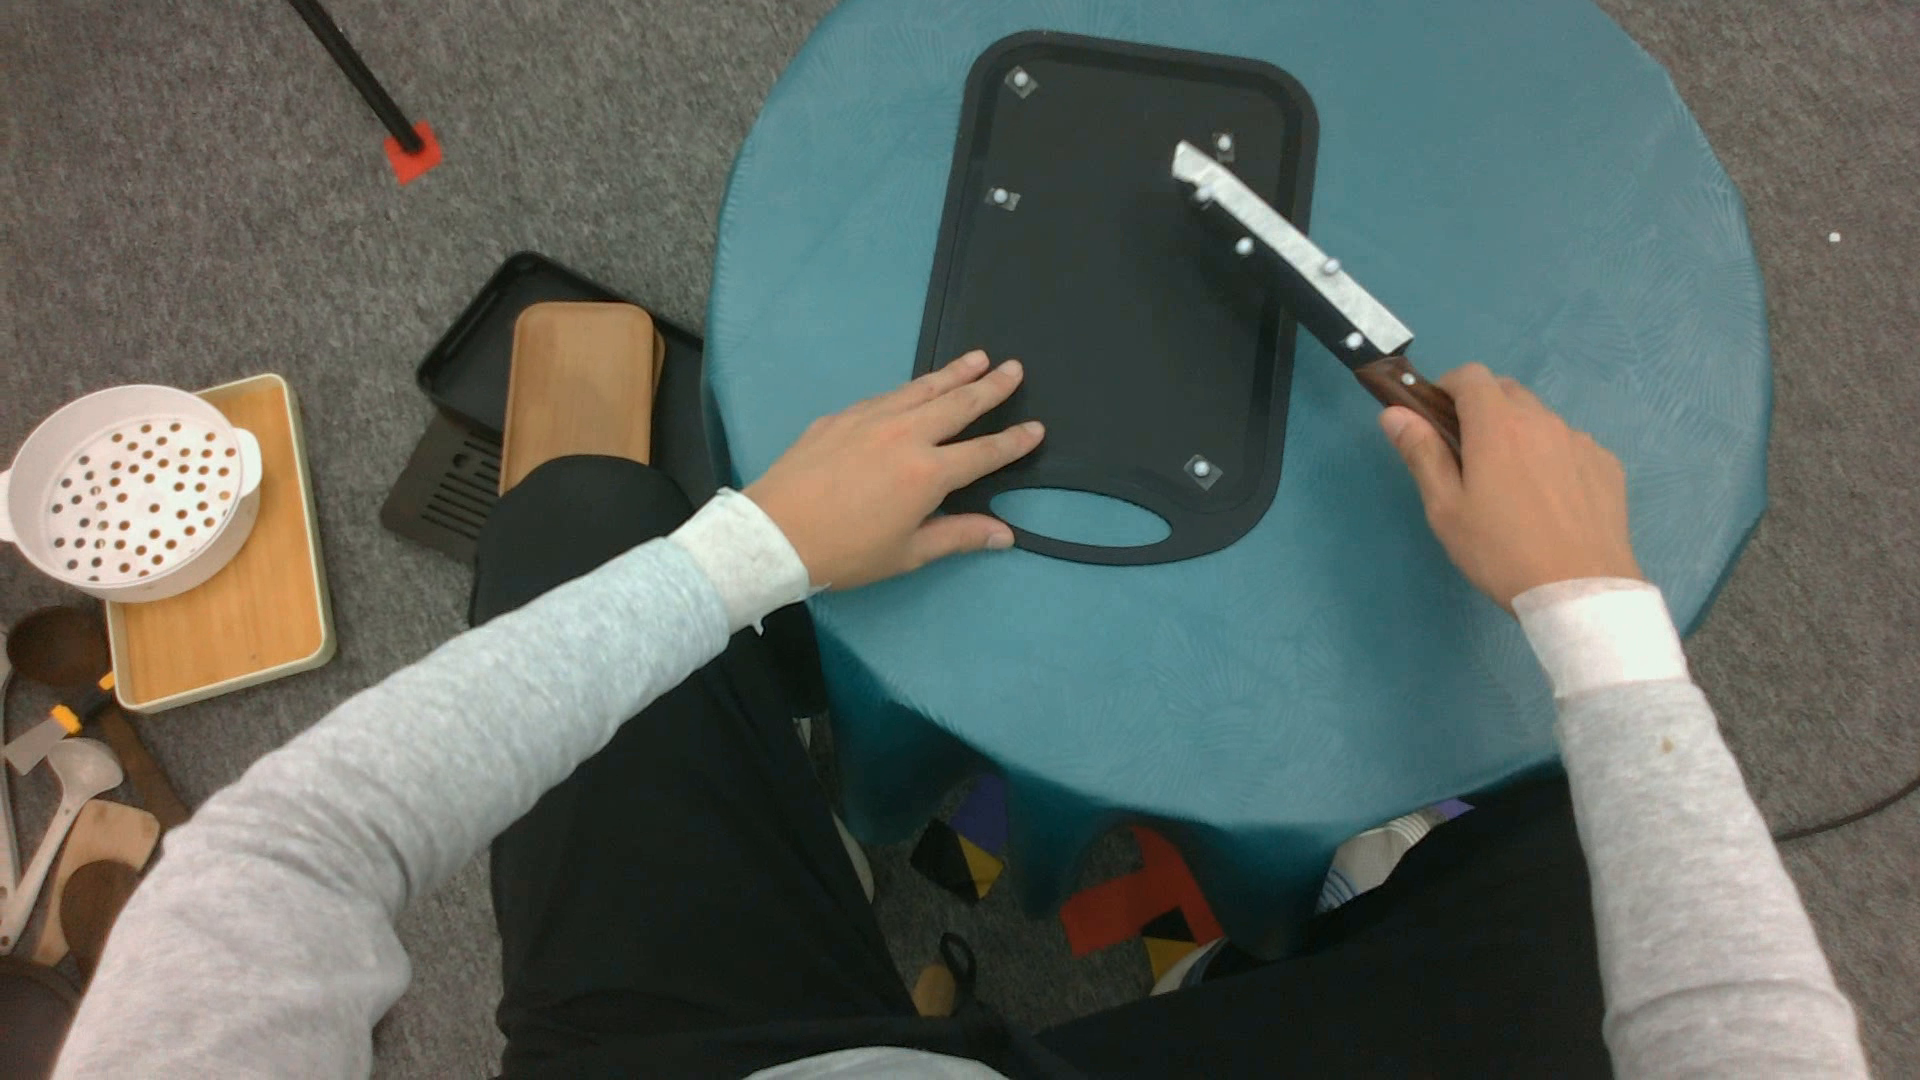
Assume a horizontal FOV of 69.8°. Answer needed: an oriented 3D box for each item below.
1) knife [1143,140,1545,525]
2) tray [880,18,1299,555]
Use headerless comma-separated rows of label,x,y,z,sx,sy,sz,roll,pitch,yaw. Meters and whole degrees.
knife,0.194,-0.116,0.719,0.050,0.020,0.289,-33,71,-25
tray,0.077,-0.150,0.781,0.211,0.010,0.326,10,74,2
